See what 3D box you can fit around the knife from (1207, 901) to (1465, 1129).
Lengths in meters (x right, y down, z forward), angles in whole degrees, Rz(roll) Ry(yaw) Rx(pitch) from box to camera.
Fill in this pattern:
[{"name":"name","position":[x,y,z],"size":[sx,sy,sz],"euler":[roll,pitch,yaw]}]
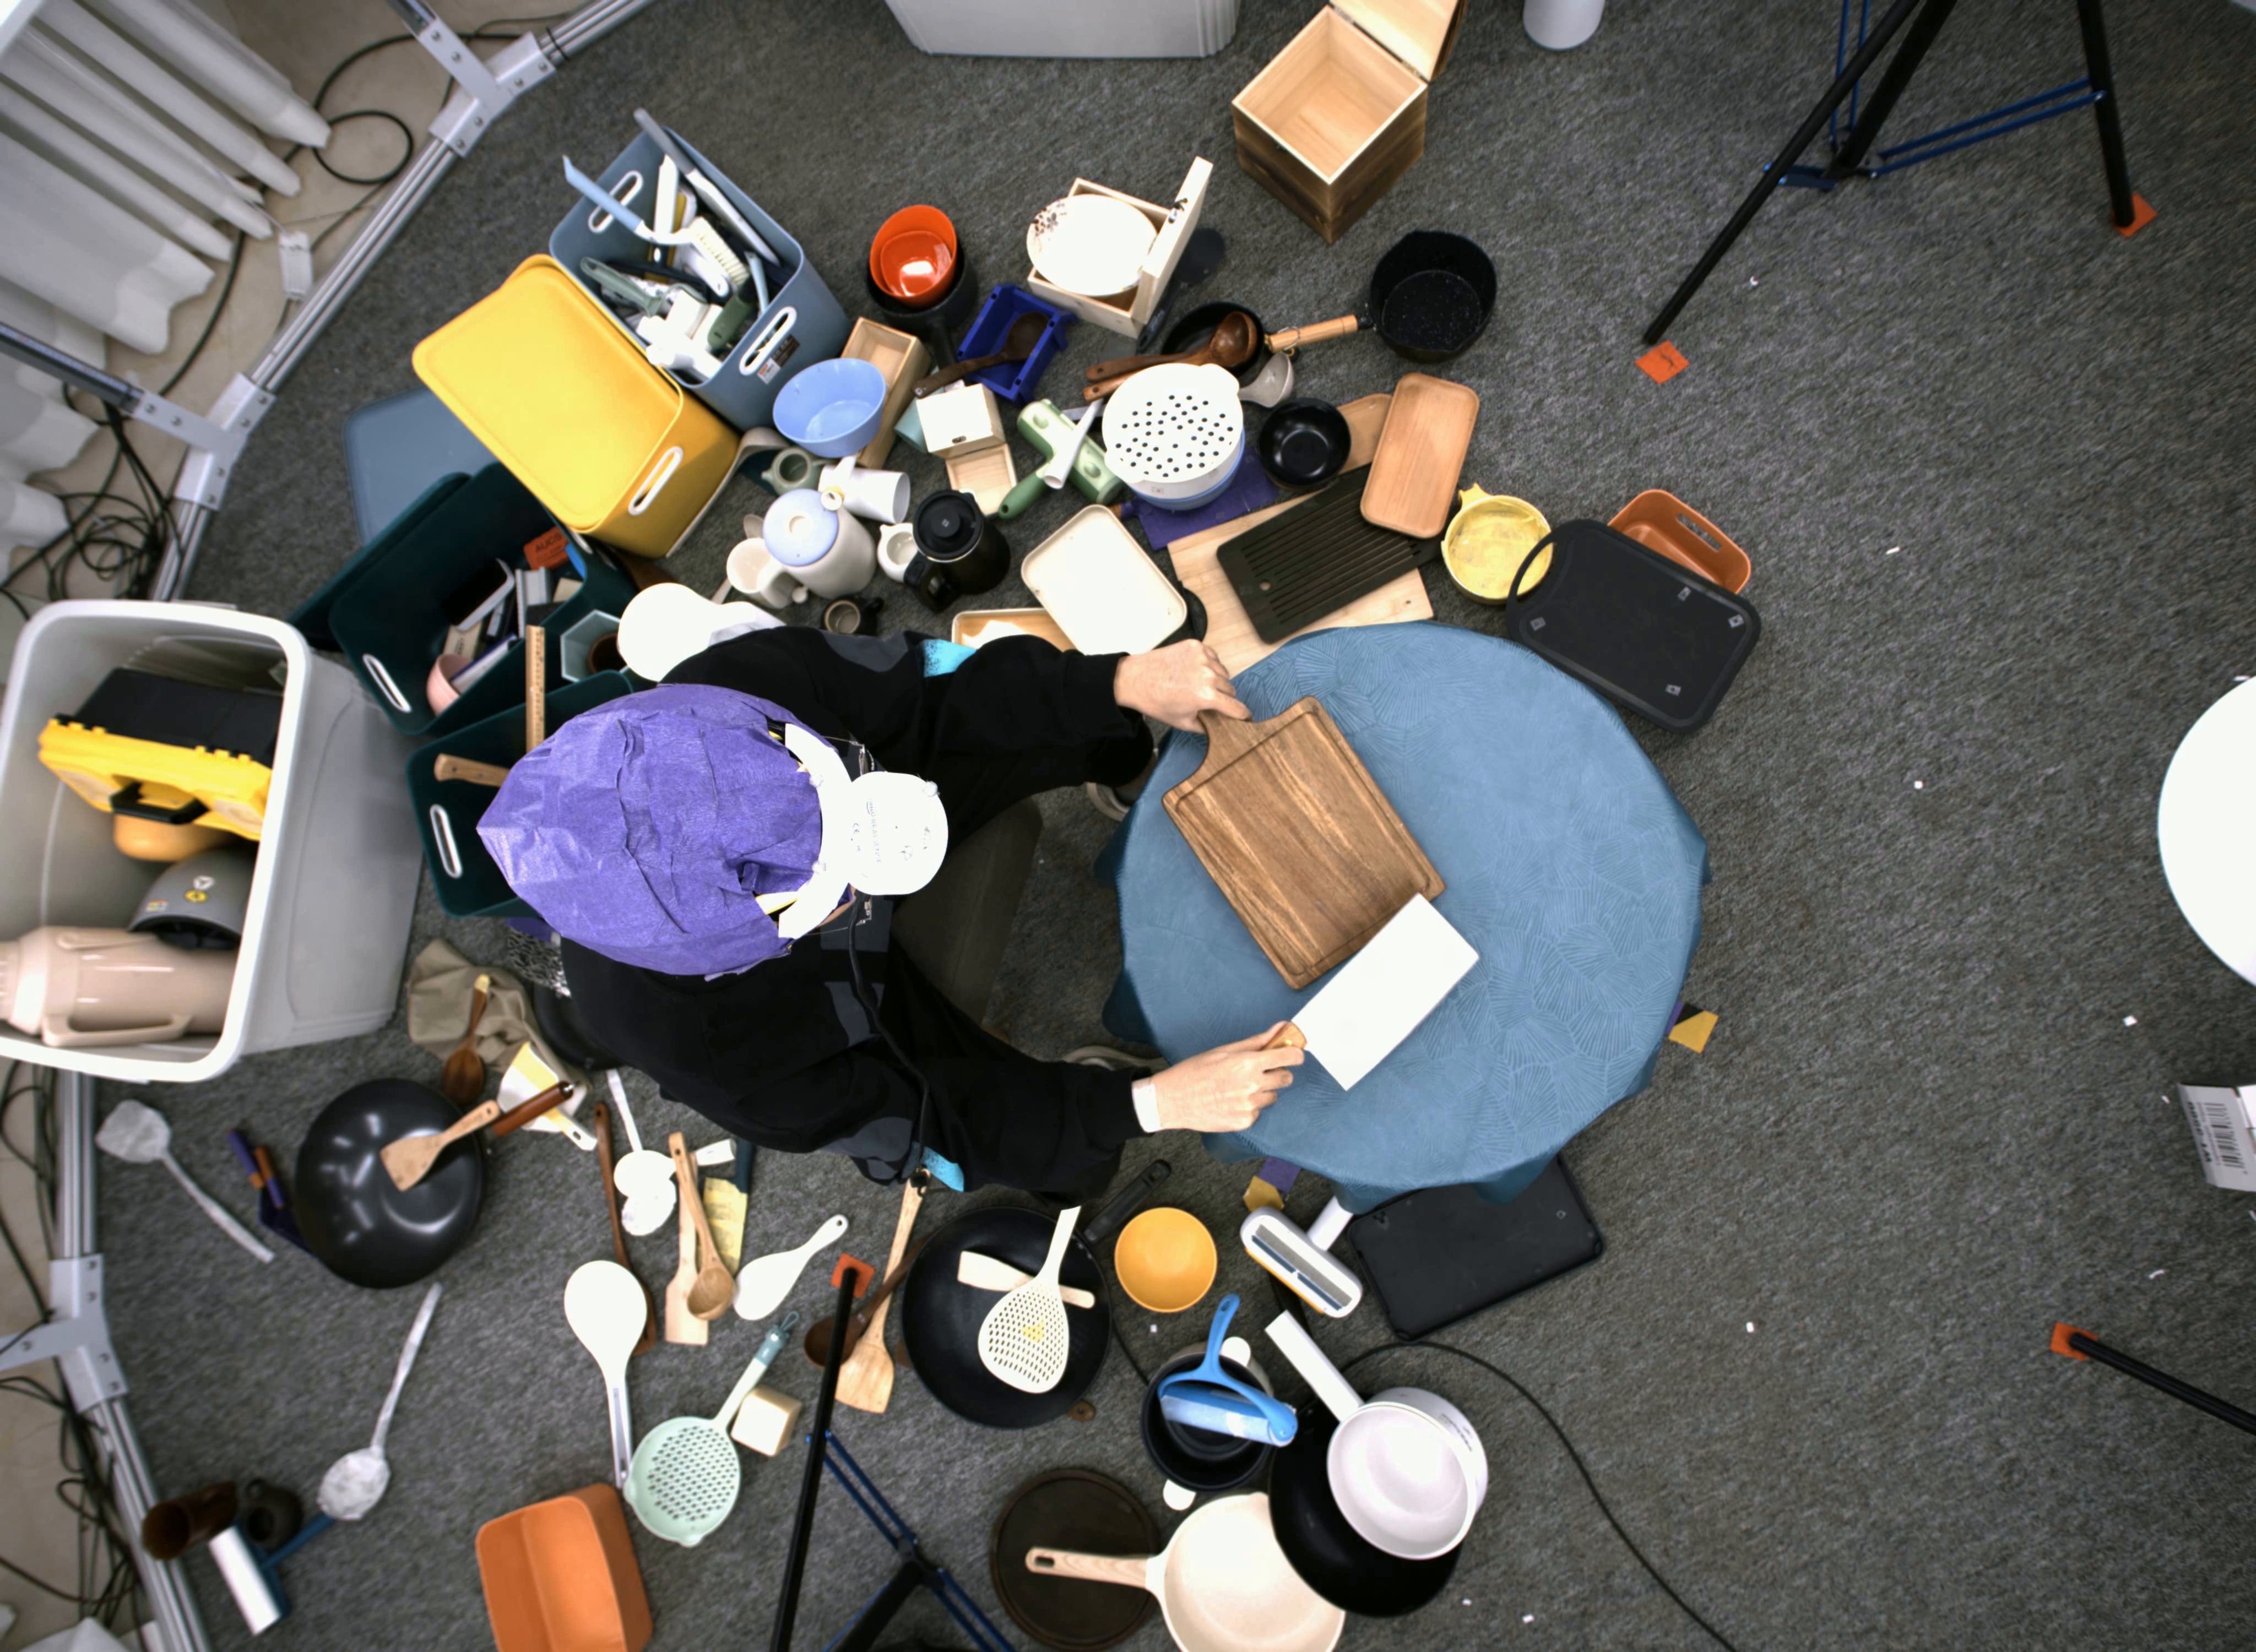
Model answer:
[{"name":"knife","position":[0.214,0.204,1.378],"size":[0.305,0.021,0.093],"euler":[-43,92,-3]}]

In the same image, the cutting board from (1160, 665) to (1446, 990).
[{"name":"cutting board","position":[0.154,-0.023,1.440],"size":[0.202,0.023,0.352],"euler":[-35,93,7]}]
